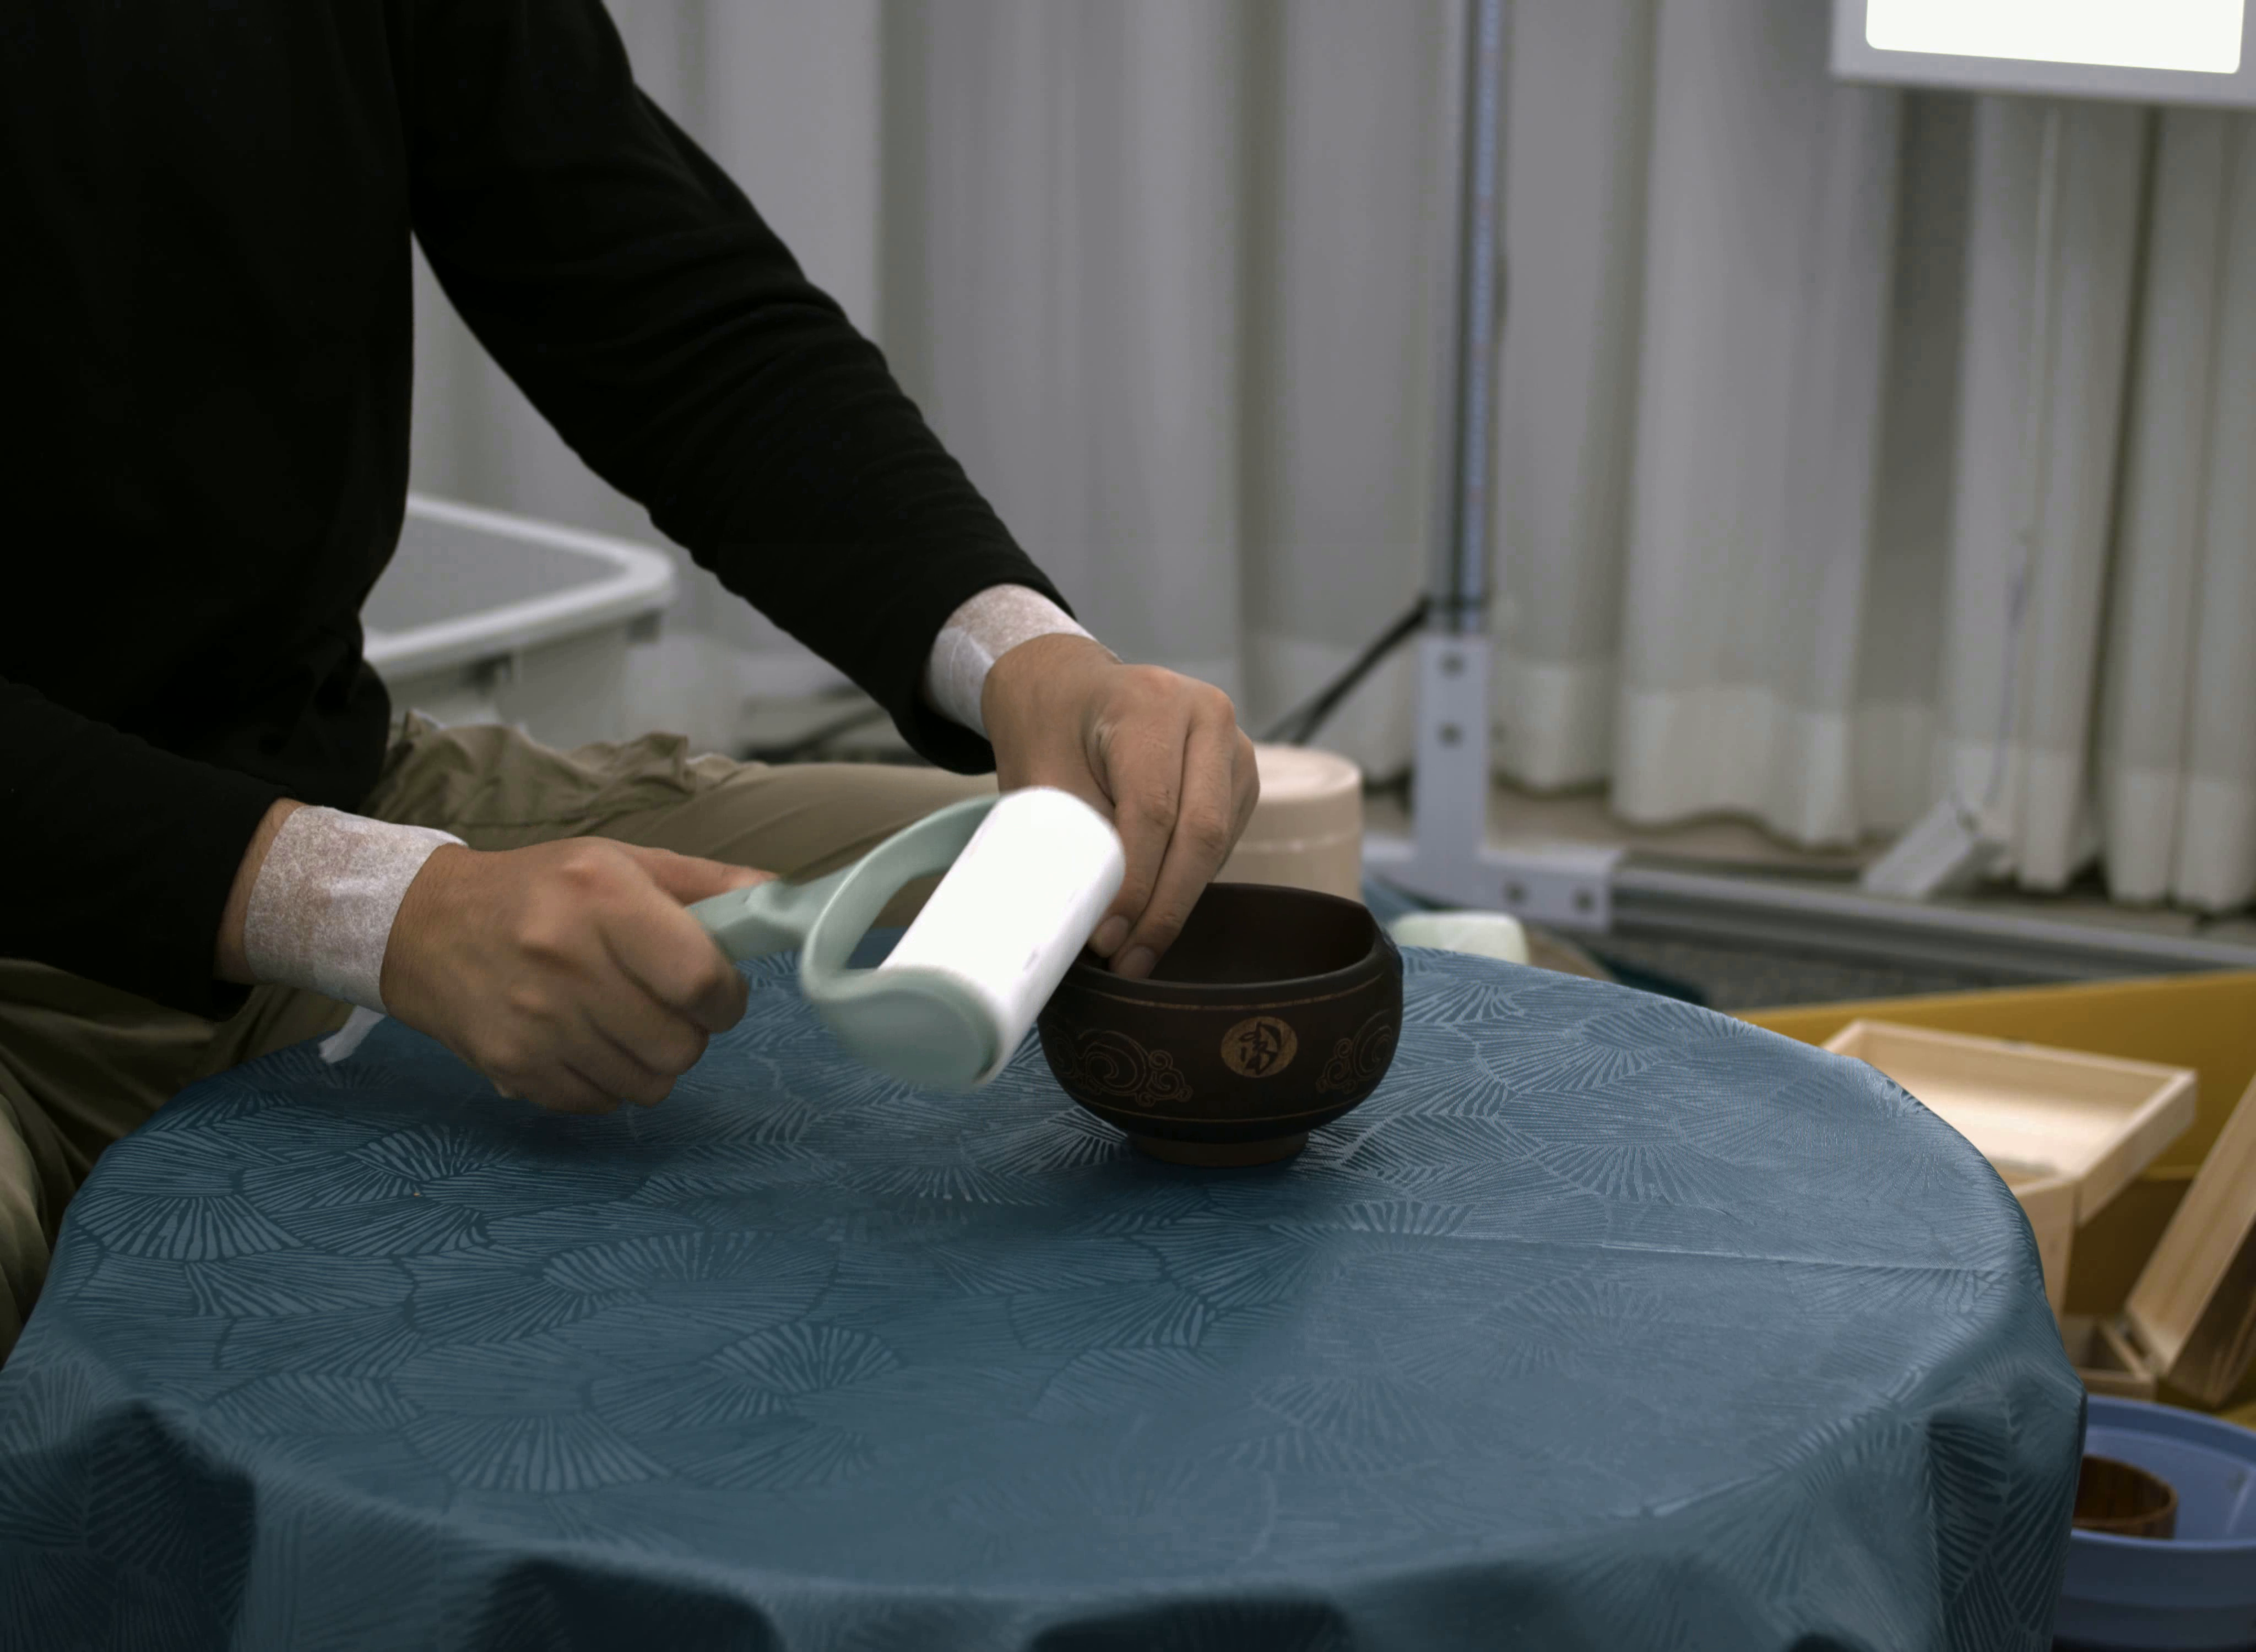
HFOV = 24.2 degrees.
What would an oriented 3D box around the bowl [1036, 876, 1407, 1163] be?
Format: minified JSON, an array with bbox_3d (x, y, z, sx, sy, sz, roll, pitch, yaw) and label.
[{"bbox_3d":[0.029,0.065,1.659,0.117,0.070,0.117,0,16,1],"label":"bowl"}]

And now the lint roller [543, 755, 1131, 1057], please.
[{"bbox_3d":[-0.100,0.034,1.641,0.196,0.049,0.116,-9,28,24],"label":"lint roller"}]
